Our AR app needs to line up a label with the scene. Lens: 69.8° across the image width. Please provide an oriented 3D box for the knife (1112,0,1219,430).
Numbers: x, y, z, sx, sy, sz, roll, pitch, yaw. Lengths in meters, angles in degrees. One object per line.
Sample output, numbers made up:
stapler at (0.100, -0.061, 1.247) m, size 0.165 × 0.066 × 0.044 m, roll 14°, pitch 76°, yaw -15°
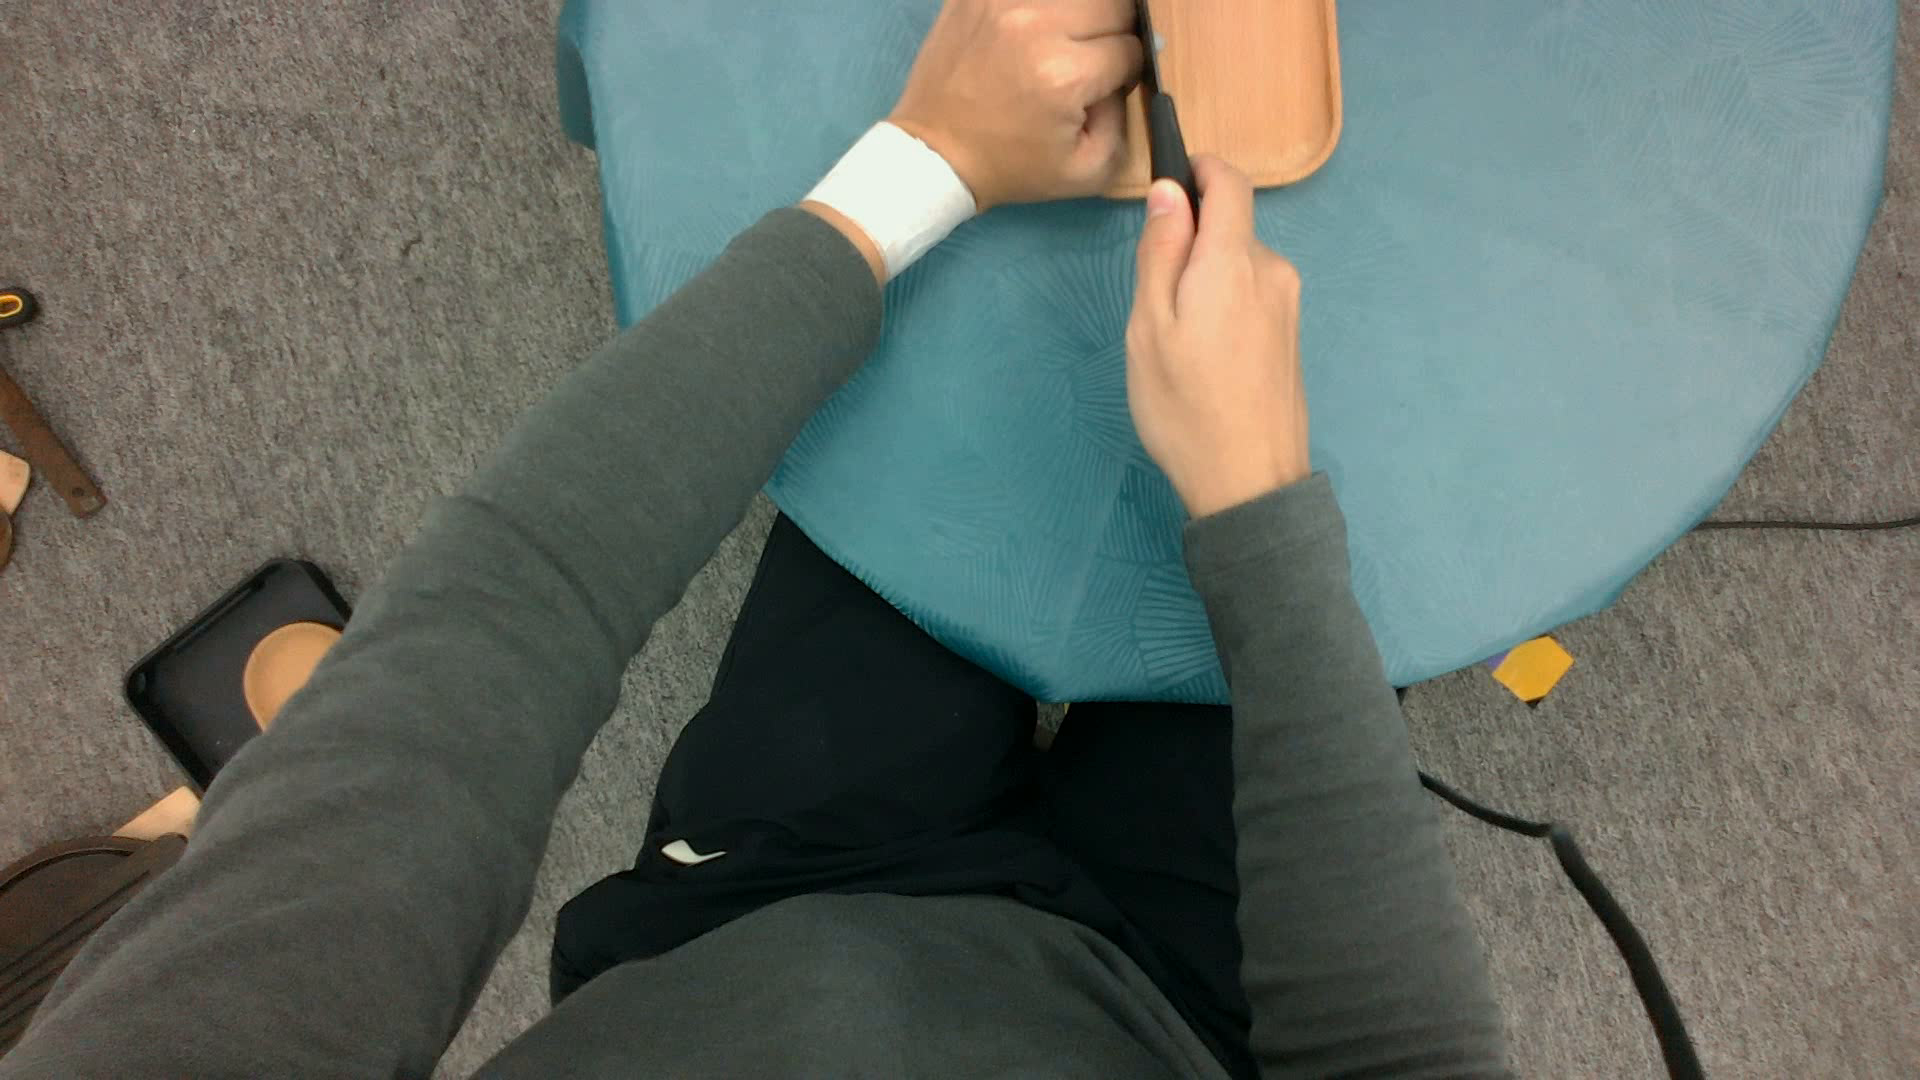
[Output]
knife at (0.073, -0.196, 0.573) m, size 0.021 × 0.081 × 0.302 m, roll -10°, pitch 87°, yaw 3°

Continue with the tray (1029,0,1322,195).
tray at (0.092, -0.283, 0.621) m, size 0.130 × 0.023 × 0.250 m, roll -4°, pitch 93°, yaw 0°
